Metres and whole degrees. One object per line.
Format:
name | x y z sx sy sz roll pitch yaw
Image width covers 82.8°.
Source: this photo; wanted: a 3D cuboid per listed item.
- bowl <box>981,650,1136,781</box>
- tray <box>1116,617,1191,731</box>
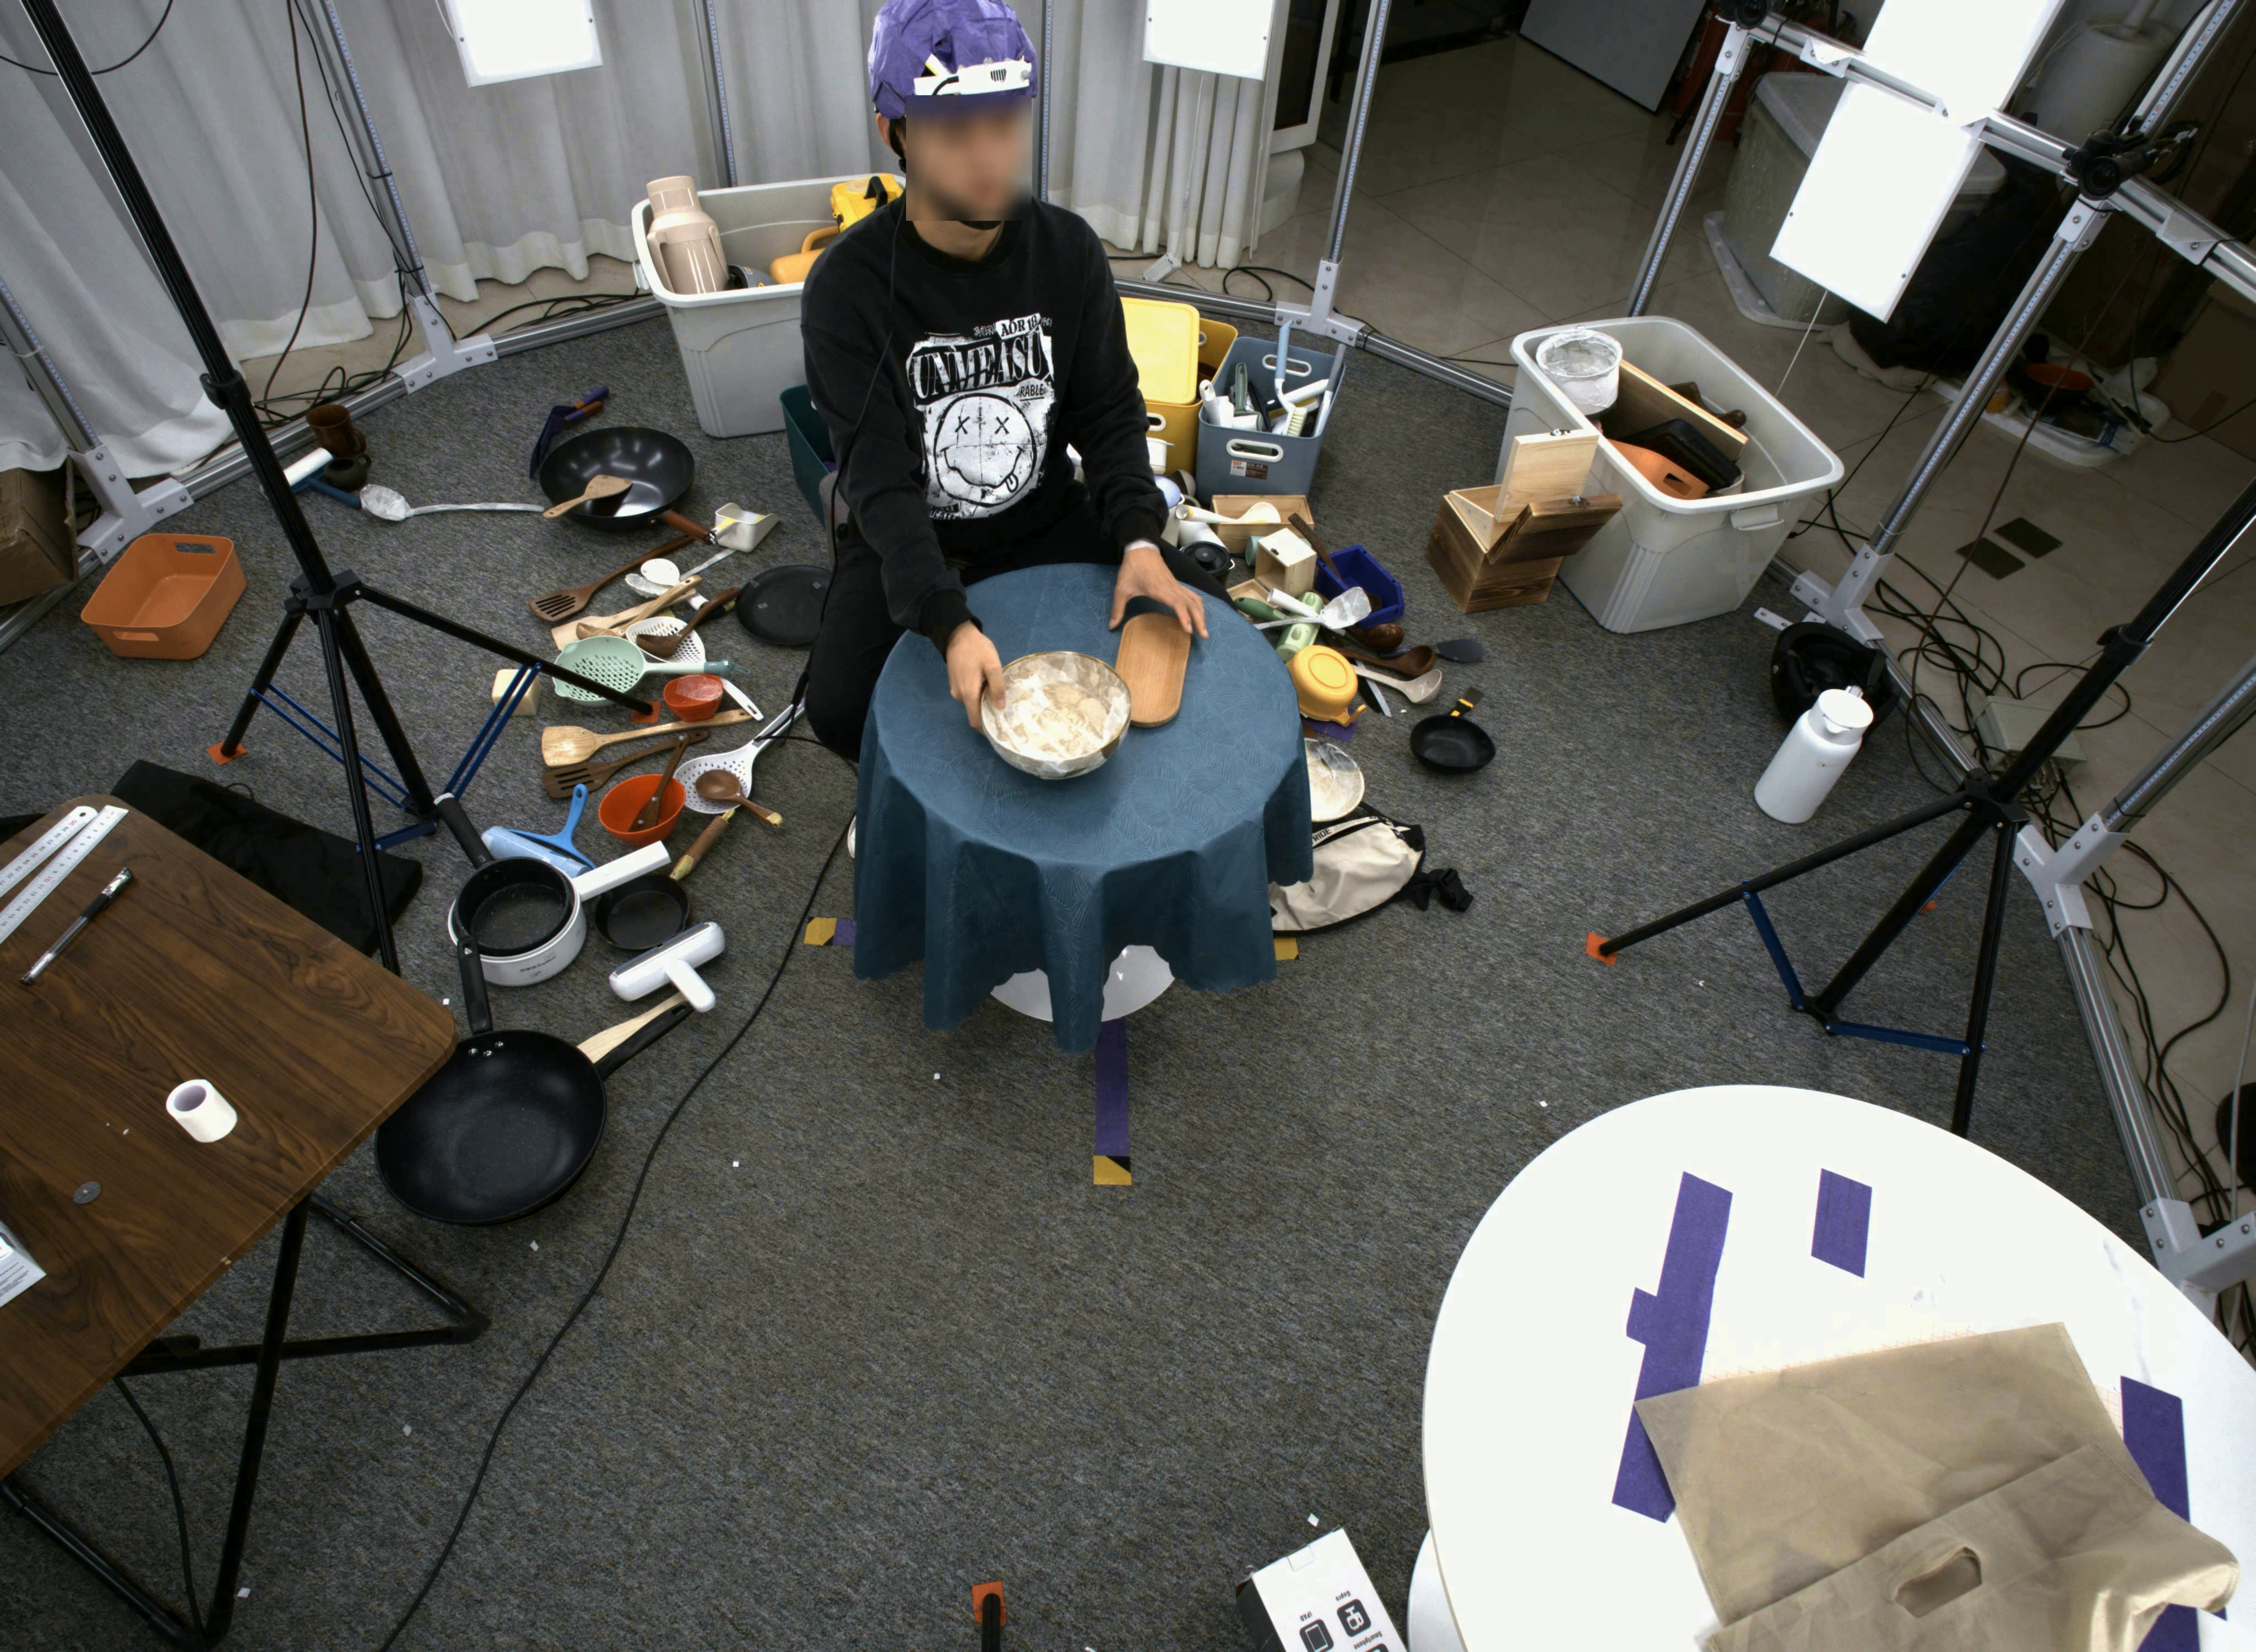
bowl | -0.091 -0.135 1.734 0.214 0.092 0.220 -1 50 1
tray | 0.035 -0.224 1.872 0.102 0.020 0.236 6 50 4
